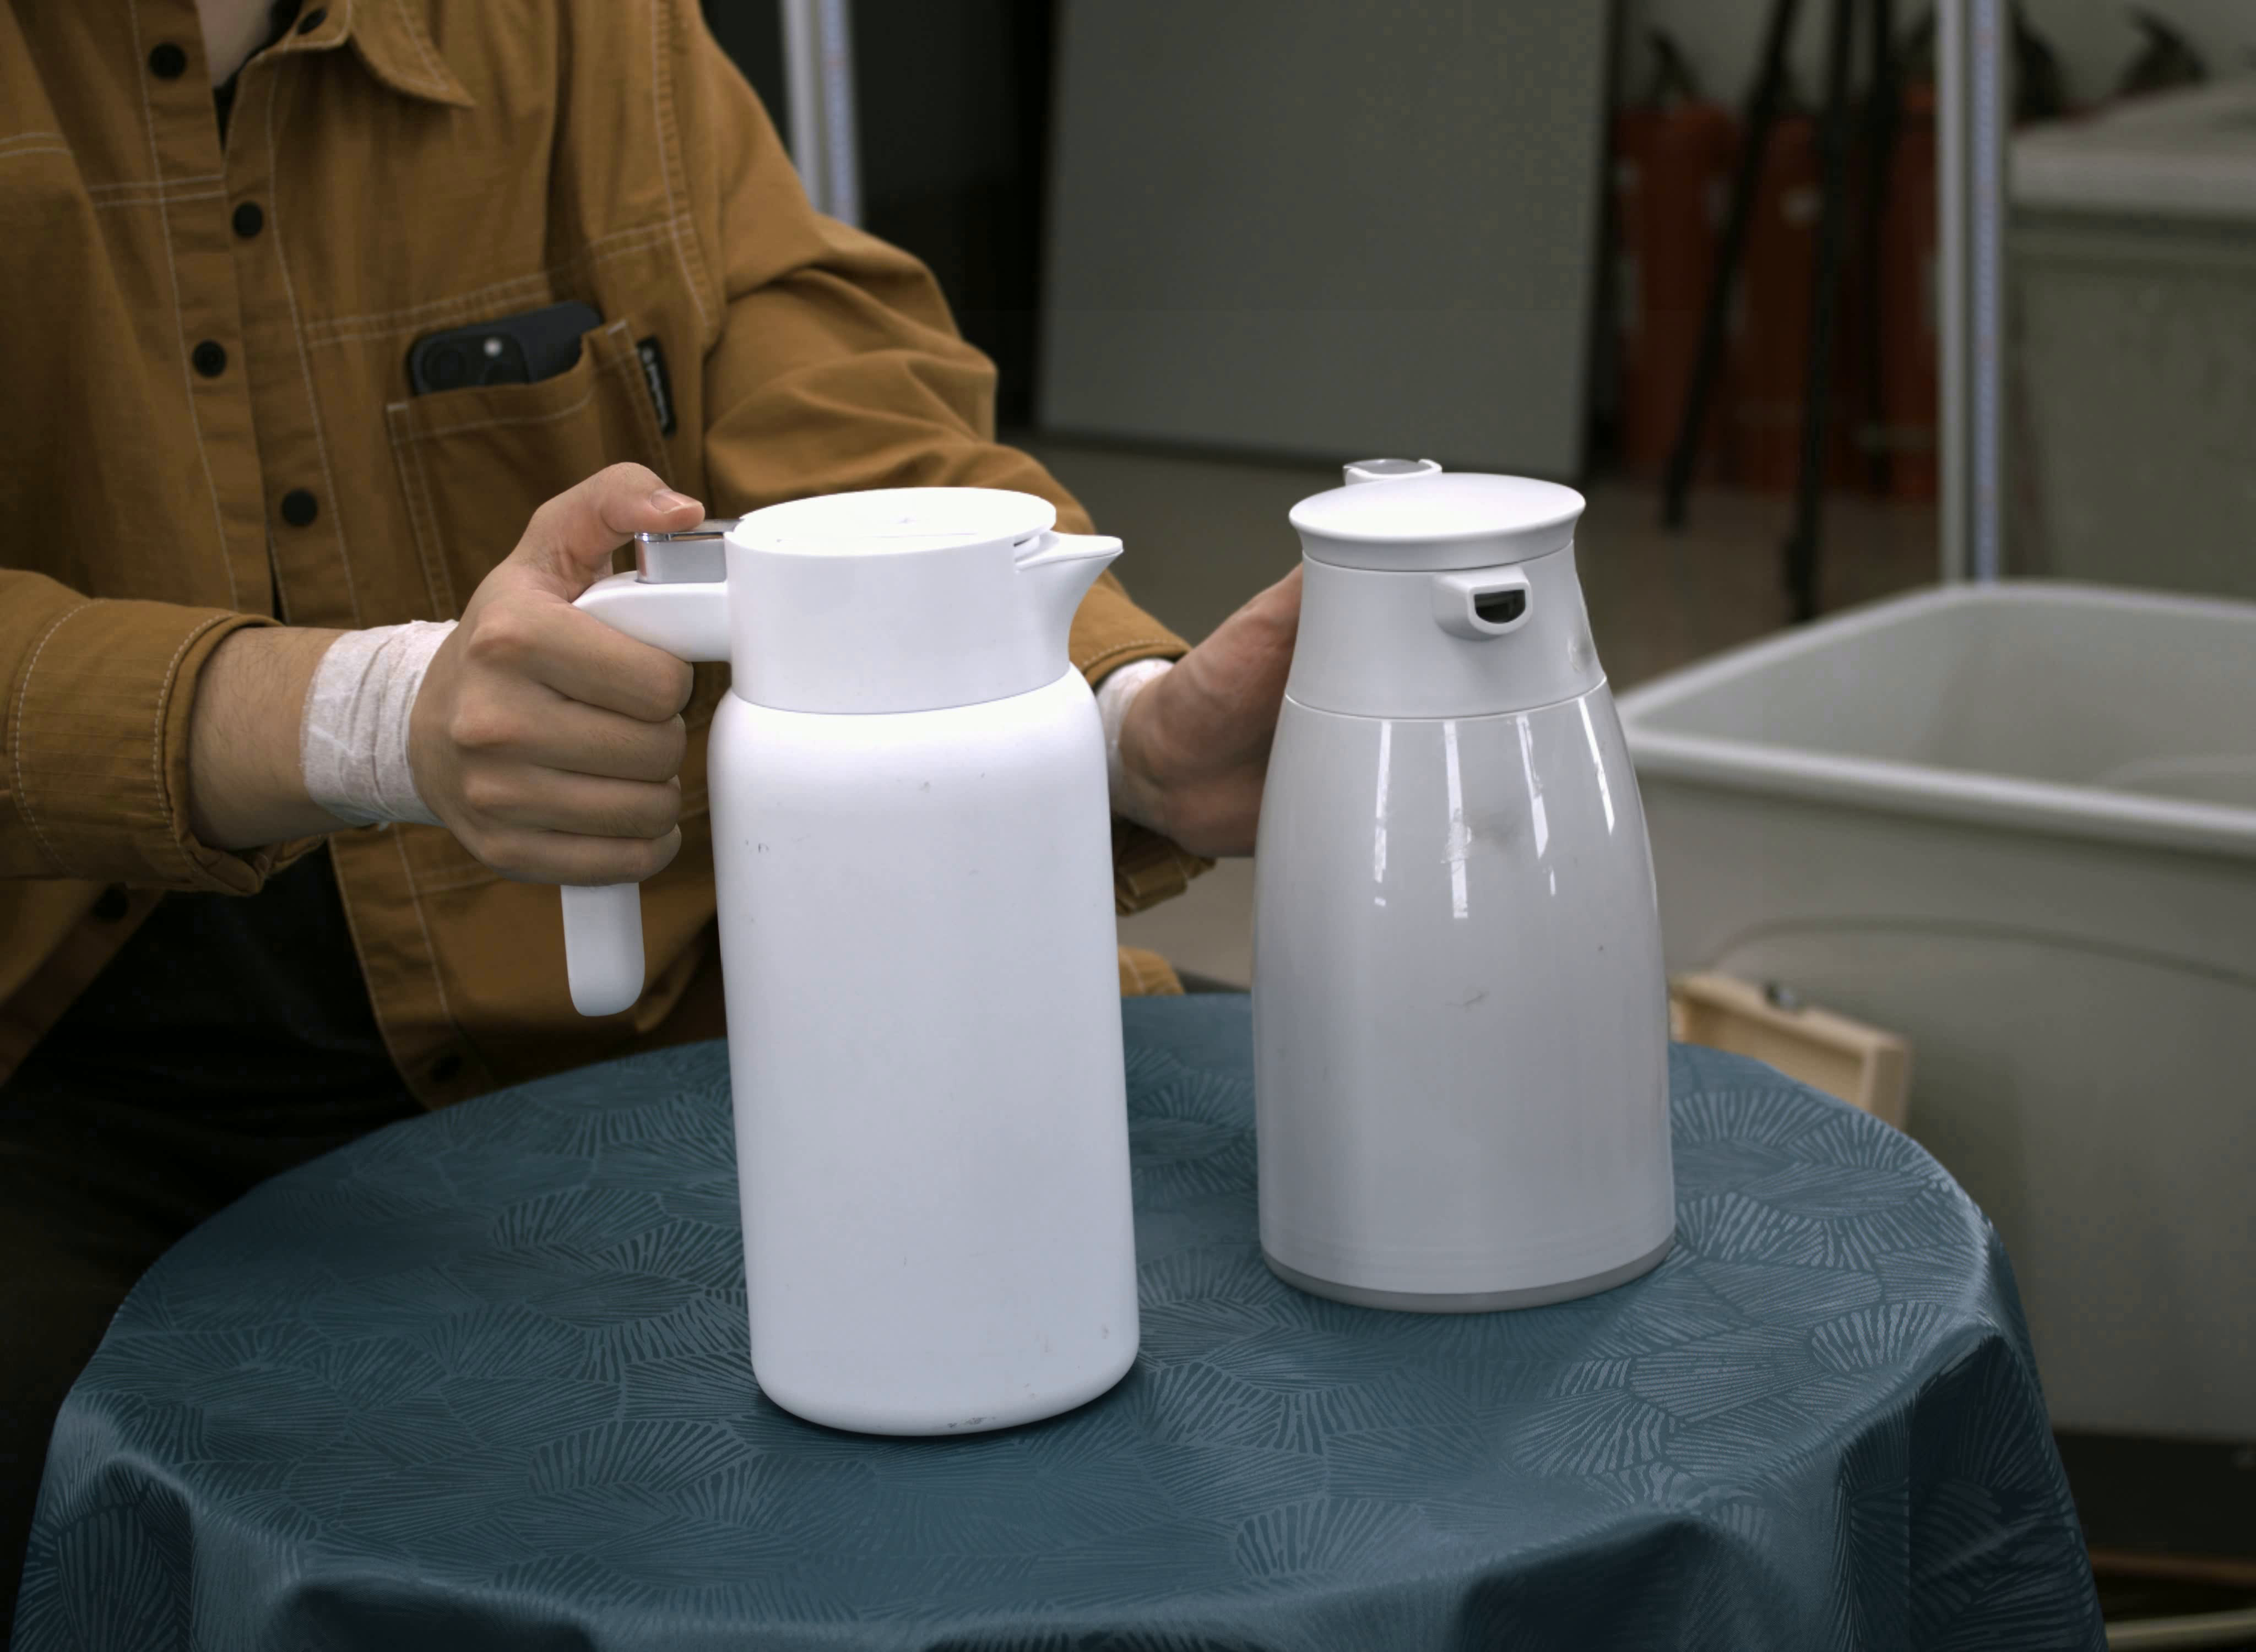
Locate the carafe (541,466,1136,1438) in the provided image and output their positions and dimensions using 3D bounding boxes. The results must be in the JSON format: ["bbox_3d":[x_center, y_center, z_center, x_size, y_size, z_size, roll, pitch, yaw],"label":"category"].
[{"bbox_3d":[-0.079,0.036,1.581,0.171,0.272,0.123,-2,15,9],"label":"carafe"}]

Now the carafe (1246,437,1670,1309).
[{"bbox_3d":[0.093,0.007,1.686,0.130,0.251,0.169,-7,13,-13],"label":"carafe"}]
